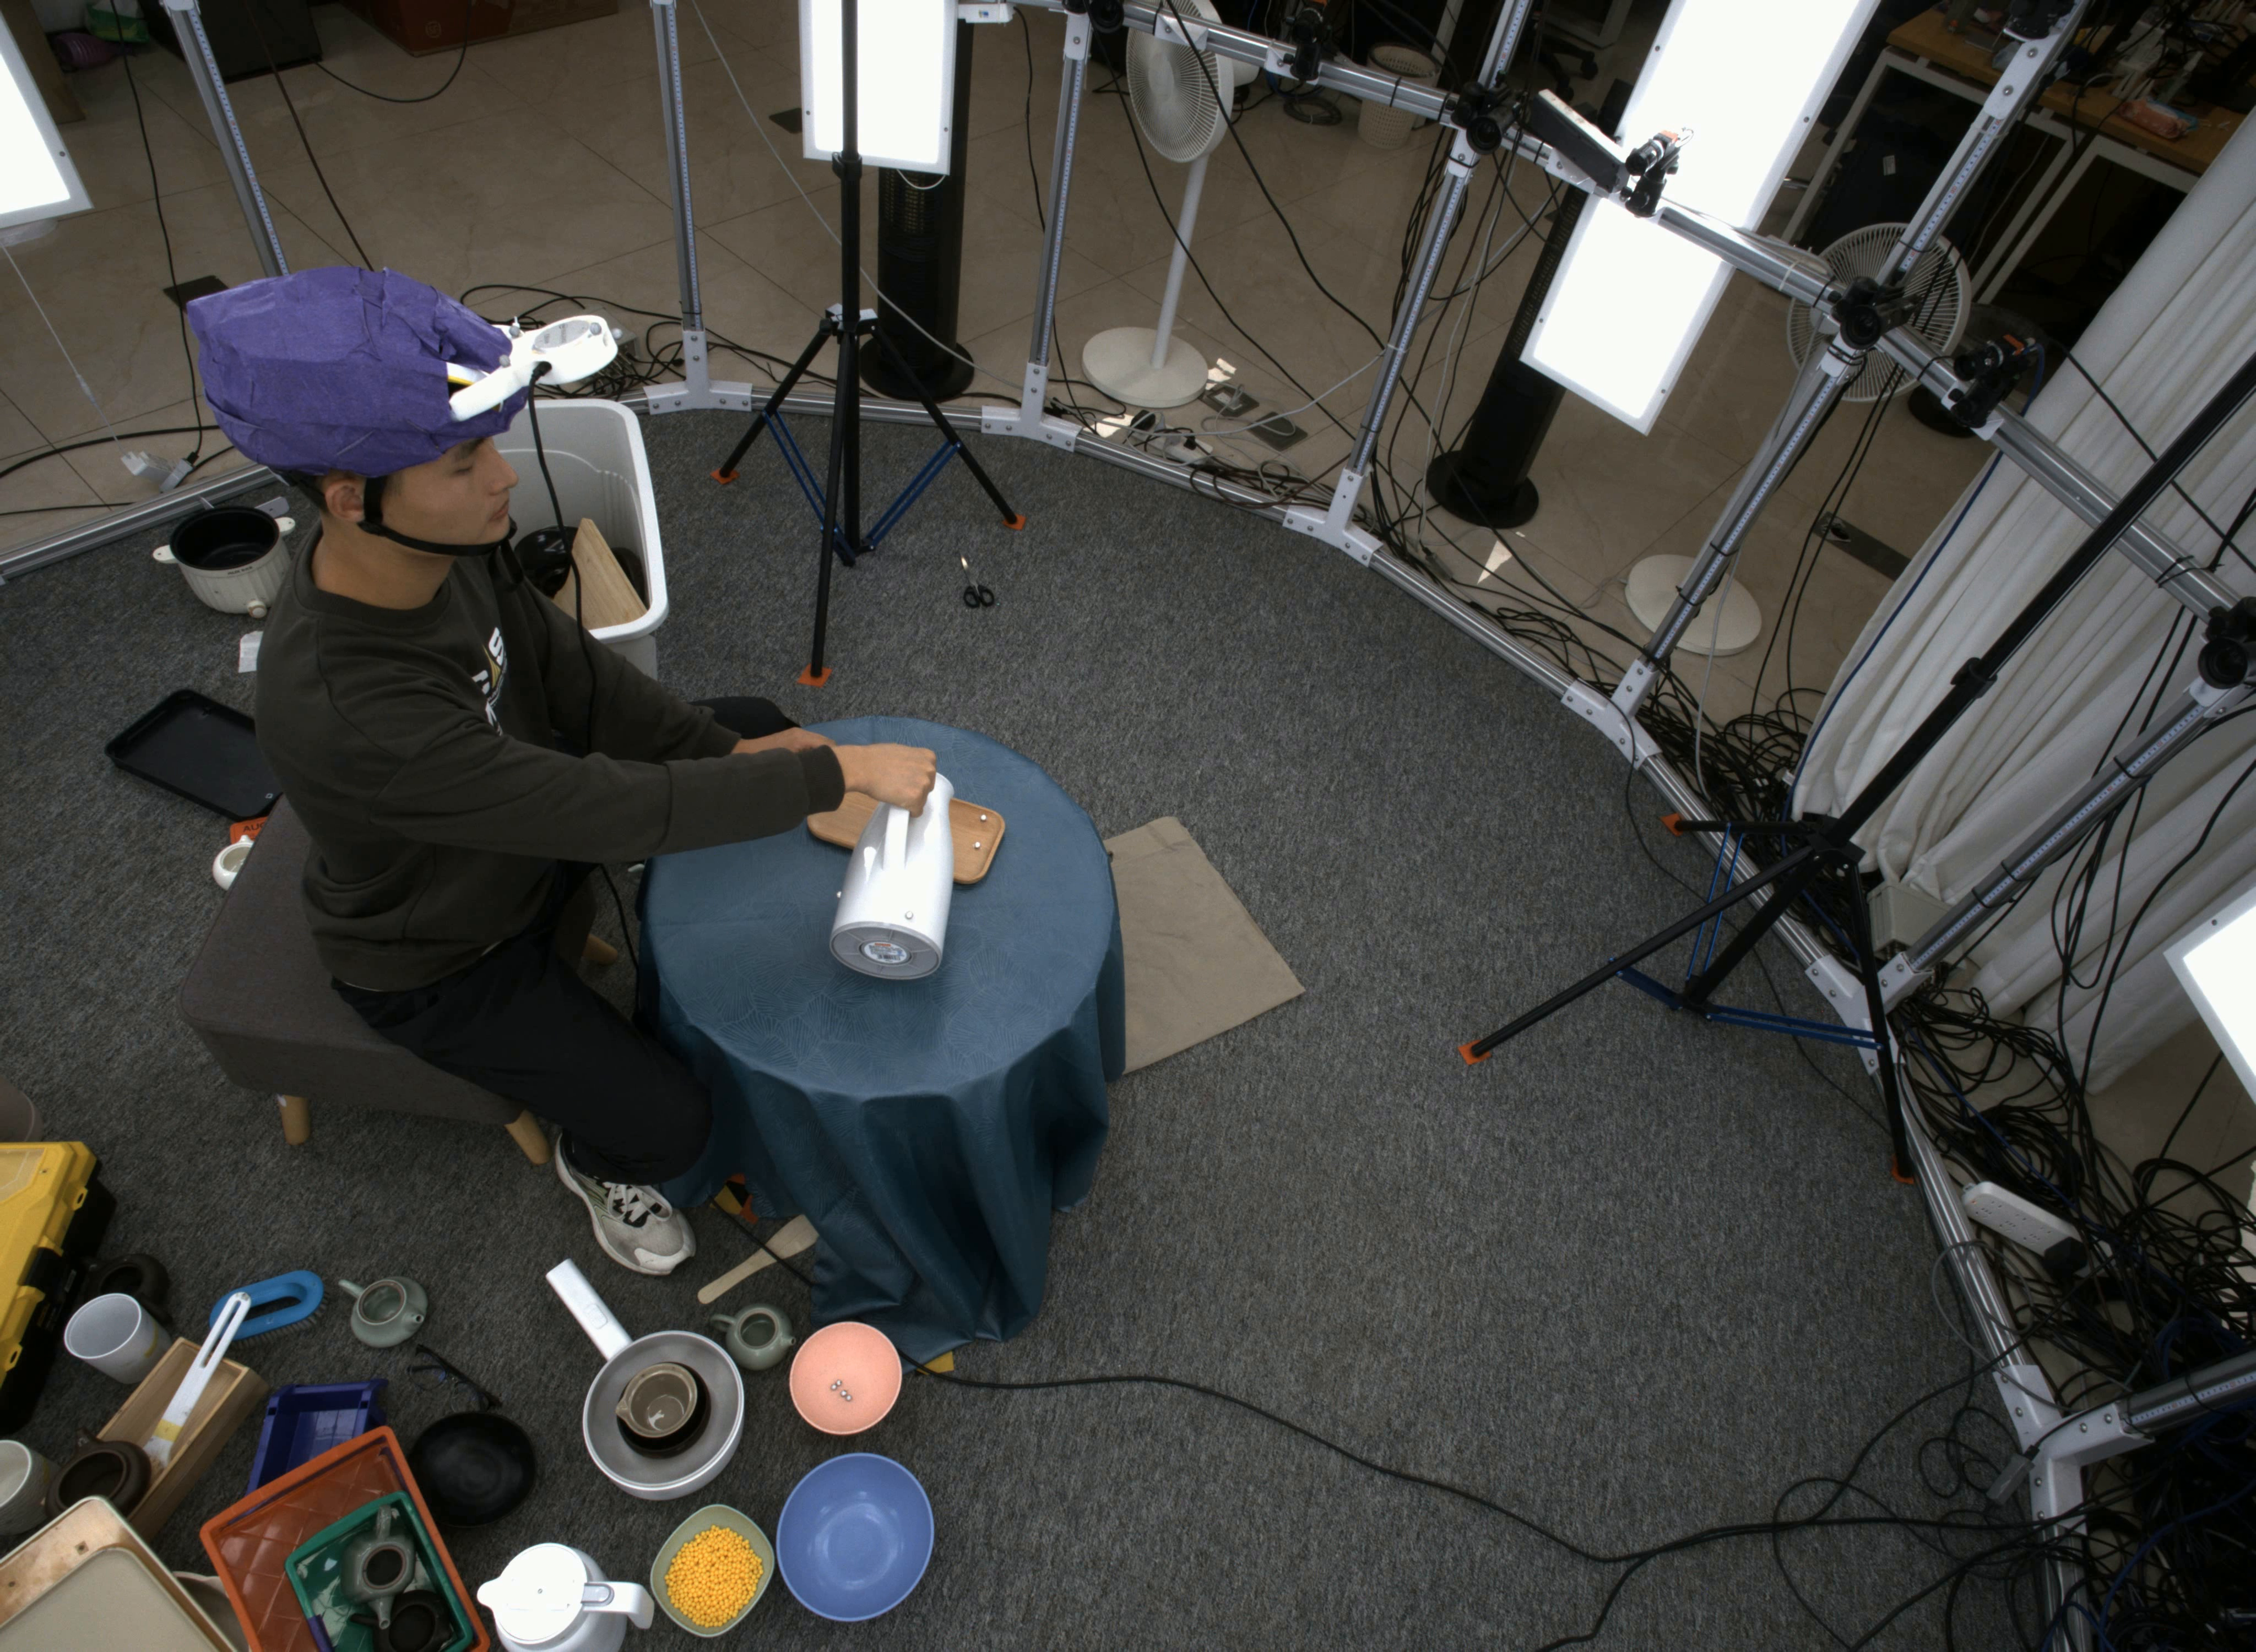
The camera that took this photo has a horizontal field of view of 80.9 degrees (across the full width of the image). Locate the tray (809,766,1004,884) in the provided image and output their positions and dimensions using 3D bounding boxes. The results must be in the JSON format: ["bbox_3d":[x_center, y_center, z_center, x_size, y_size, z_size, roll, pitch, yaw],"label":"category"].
[{"bbox_3d":[-0.298,-0.002,1.757,0.248,0.023,0.129,18,49,2],"label":"tray"}]

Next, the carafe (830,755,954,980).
[{"bbox_3d":[-0.274,0.036,1.586,0.131,0.171,0.245,8,58,-2],"label":"carafe"}]
